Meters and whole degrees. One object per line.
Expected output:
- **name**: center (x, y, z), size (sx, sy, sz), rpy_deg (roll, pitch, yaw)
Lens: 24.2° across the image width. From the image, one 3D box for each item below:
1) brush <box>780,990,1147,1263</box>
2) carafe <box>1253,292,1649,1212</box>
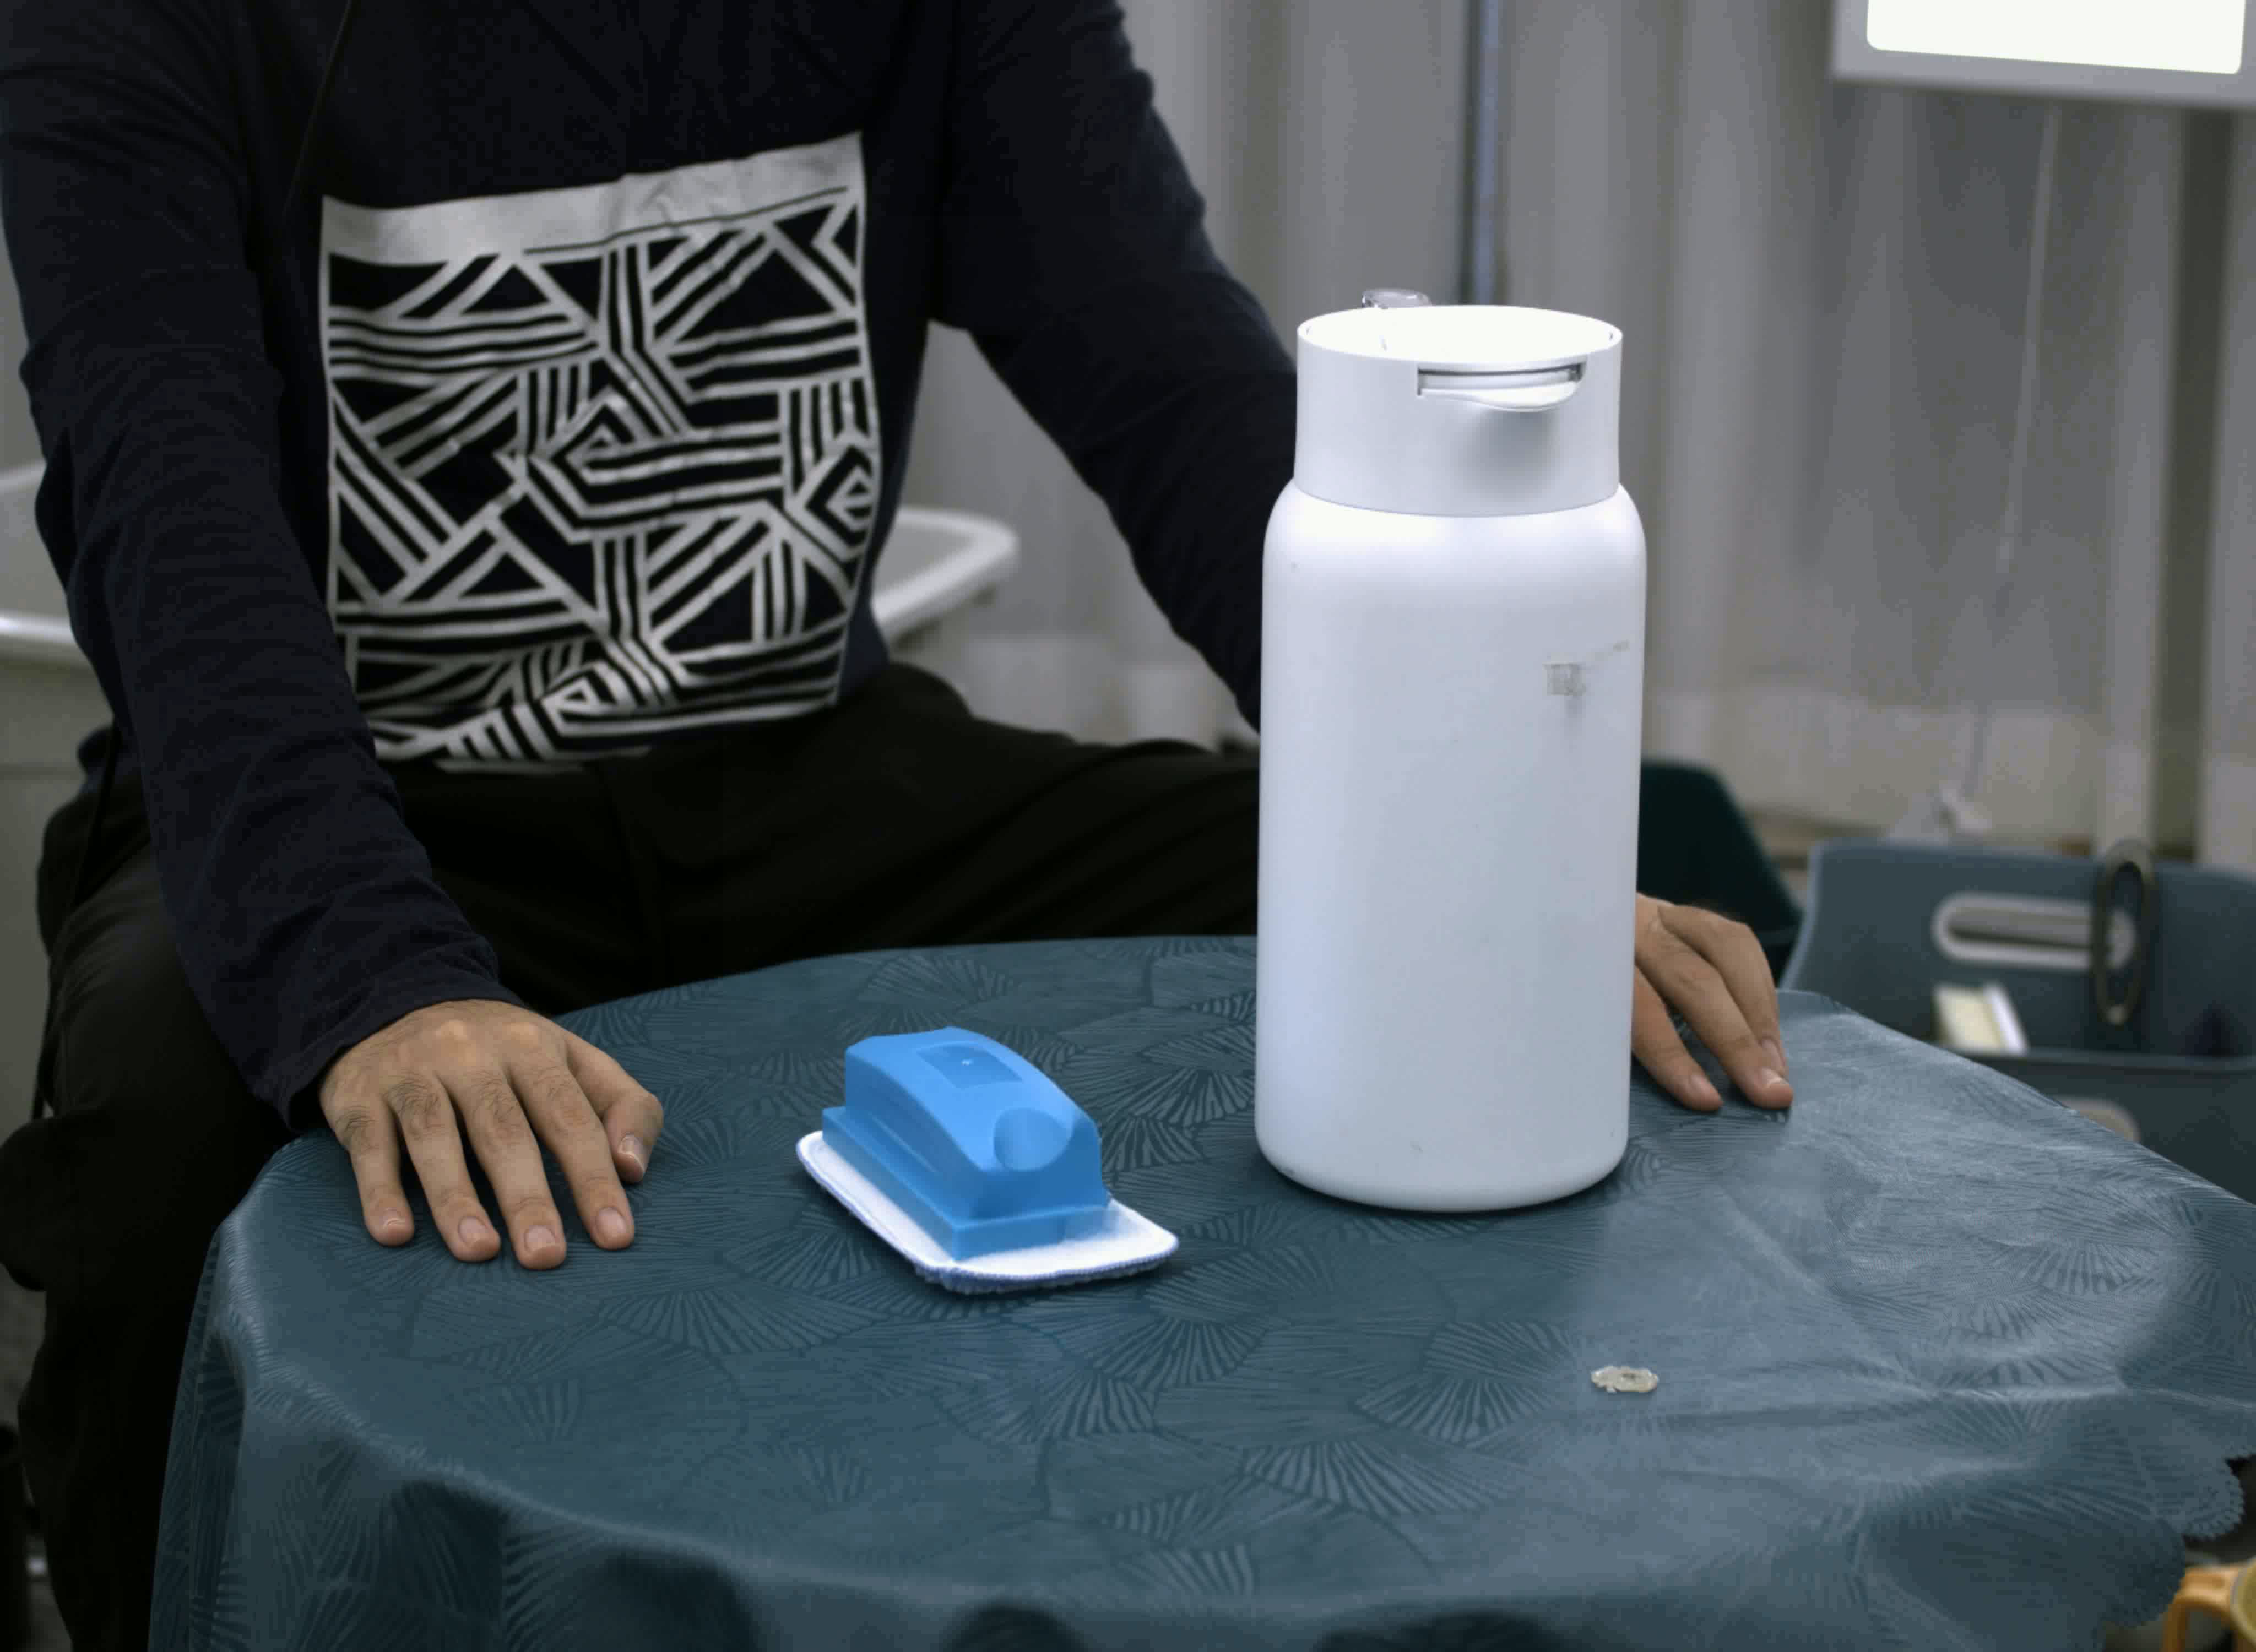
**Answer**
- **brush**: center (-0.049, 0.088, 1.594), size (0.084, 0.056, 0.142), rpy_deg (-2, 19, -21)
- **carafe**: center (0.093, -0.027, 1.633), size (0.124, 0.271, 0.171), rpy_deg (-6, 16, -16)
